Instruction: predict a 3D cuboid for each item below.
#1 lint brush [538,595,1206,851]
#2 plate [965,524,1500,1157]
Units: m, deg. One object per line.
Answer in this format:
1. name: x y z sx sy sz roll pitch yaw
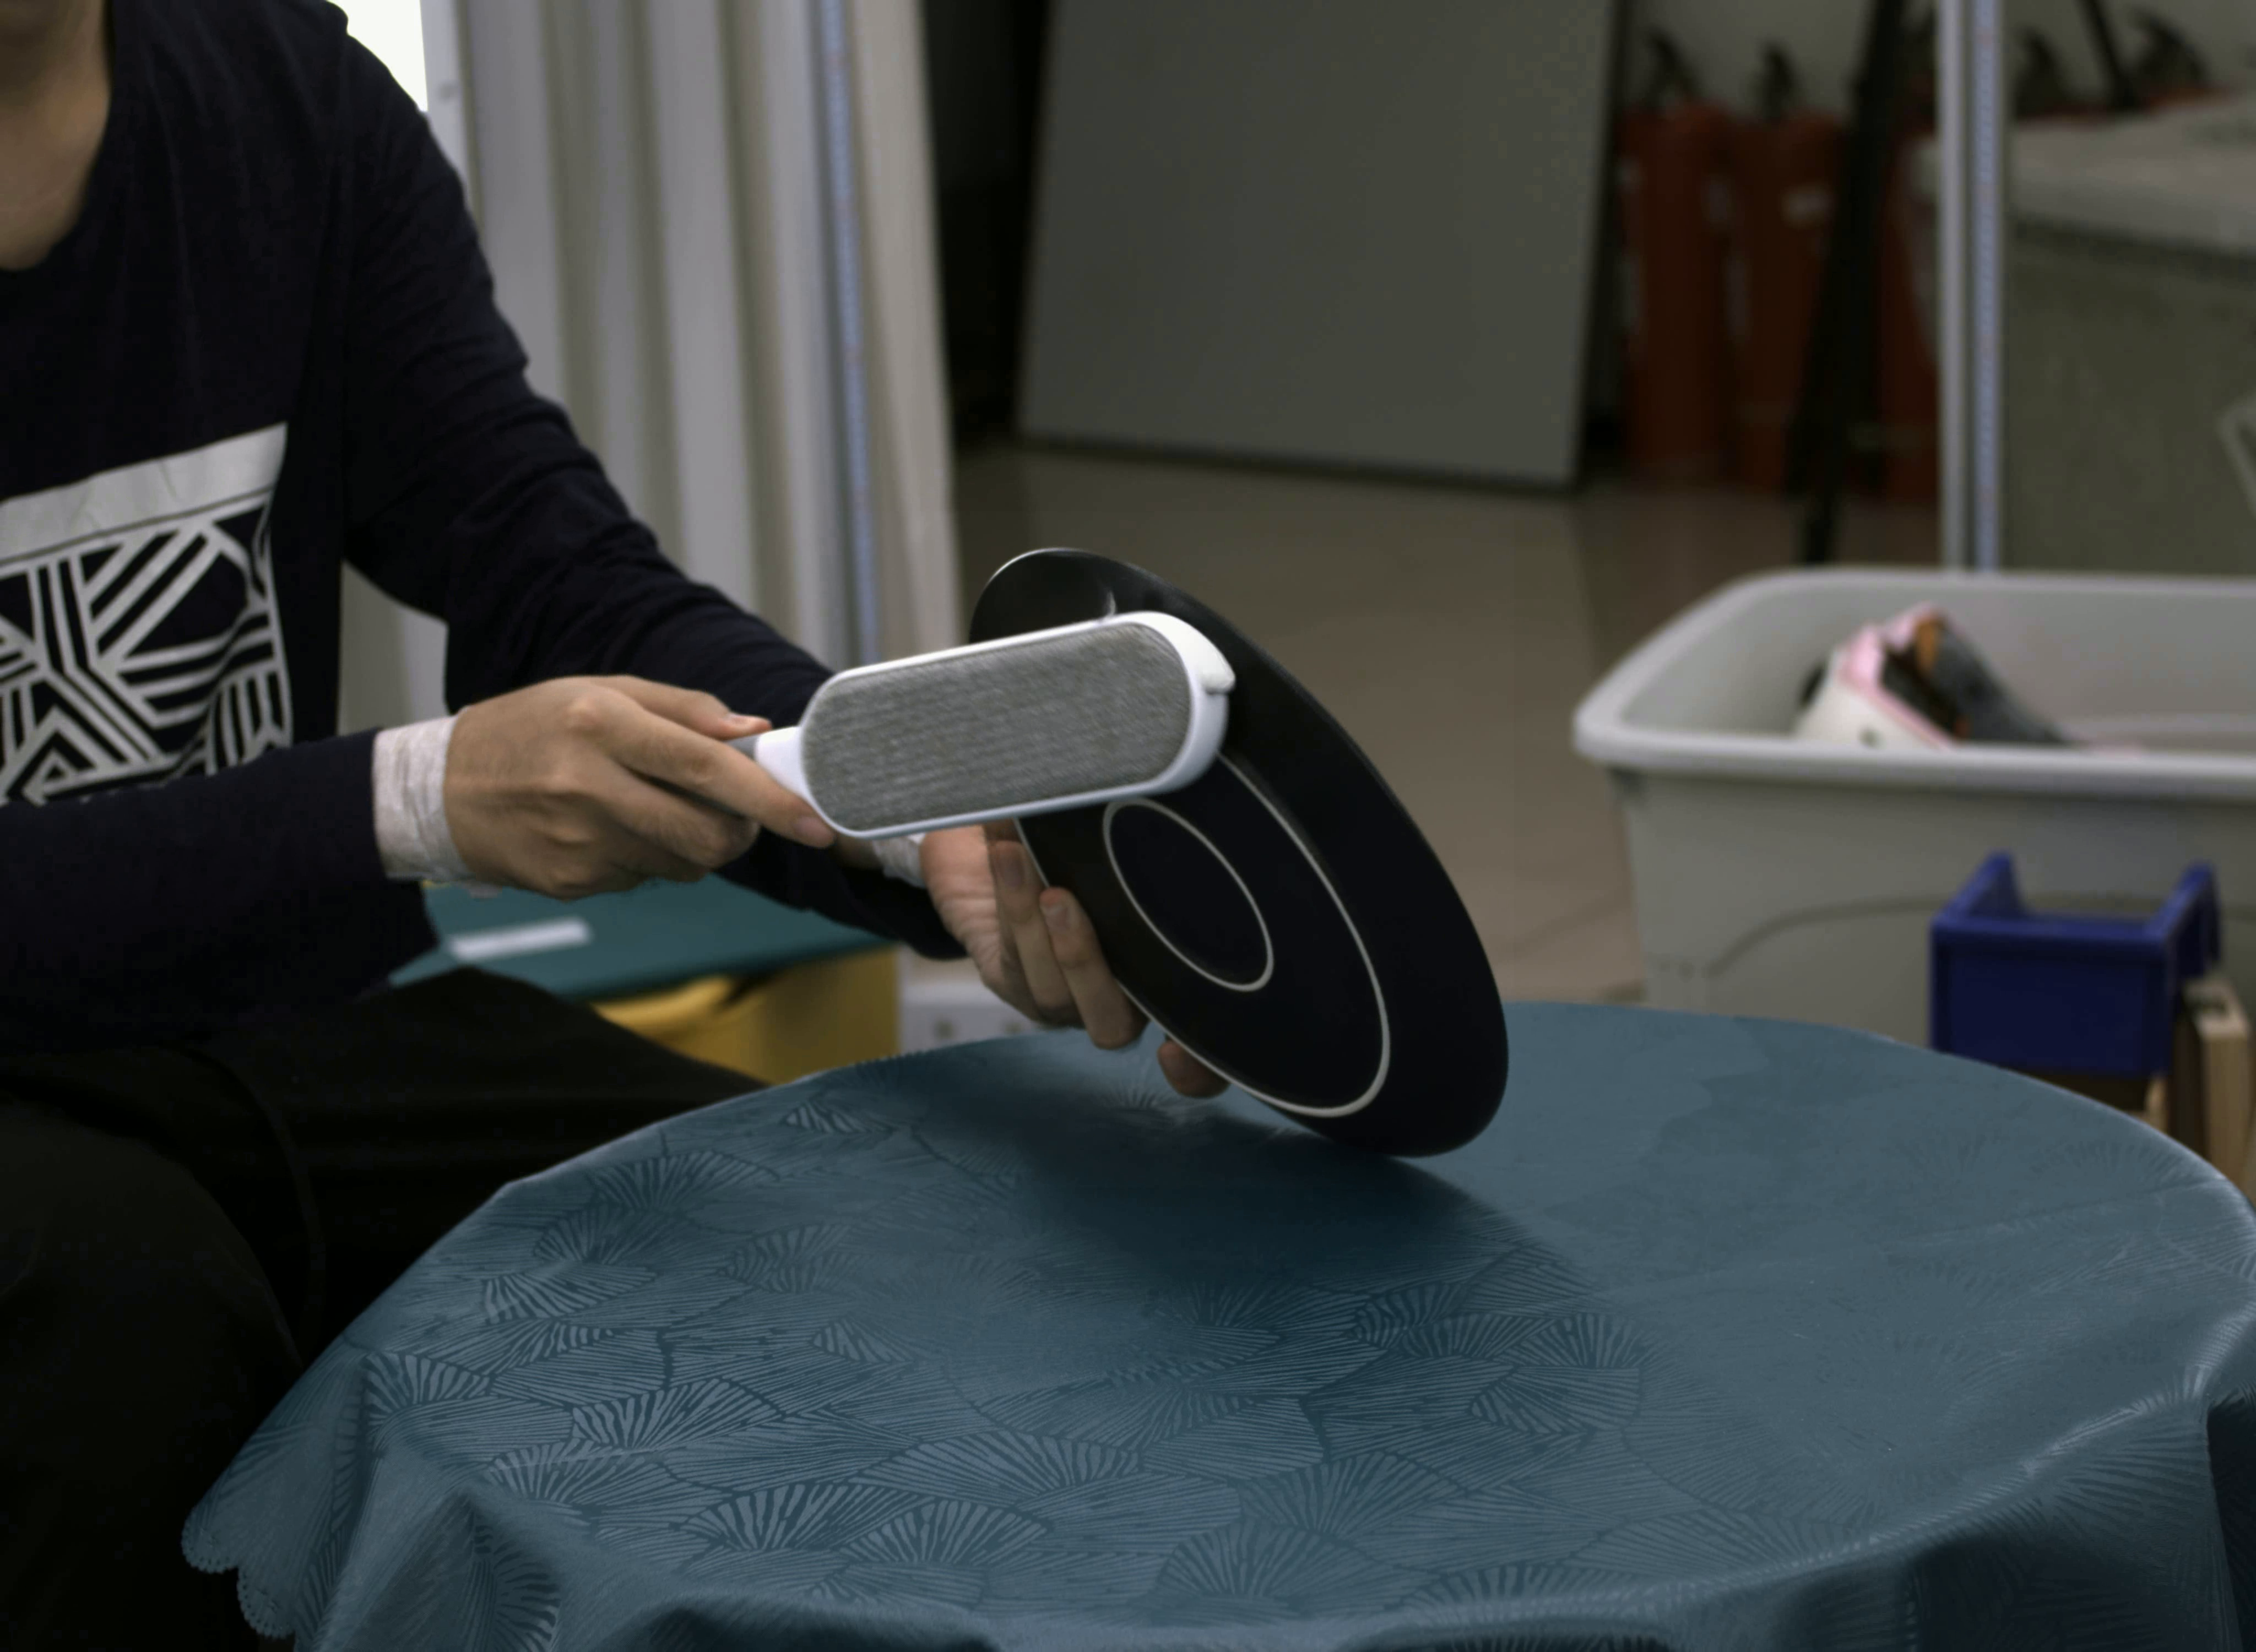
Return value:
1. lint brush: -0.089 -0.026 1.758 0.311 0.061 0.020 -11 -1 44
2. plate: 0.026 0.012 1.745 0.023 0.244 0.247 -37 29 -26
